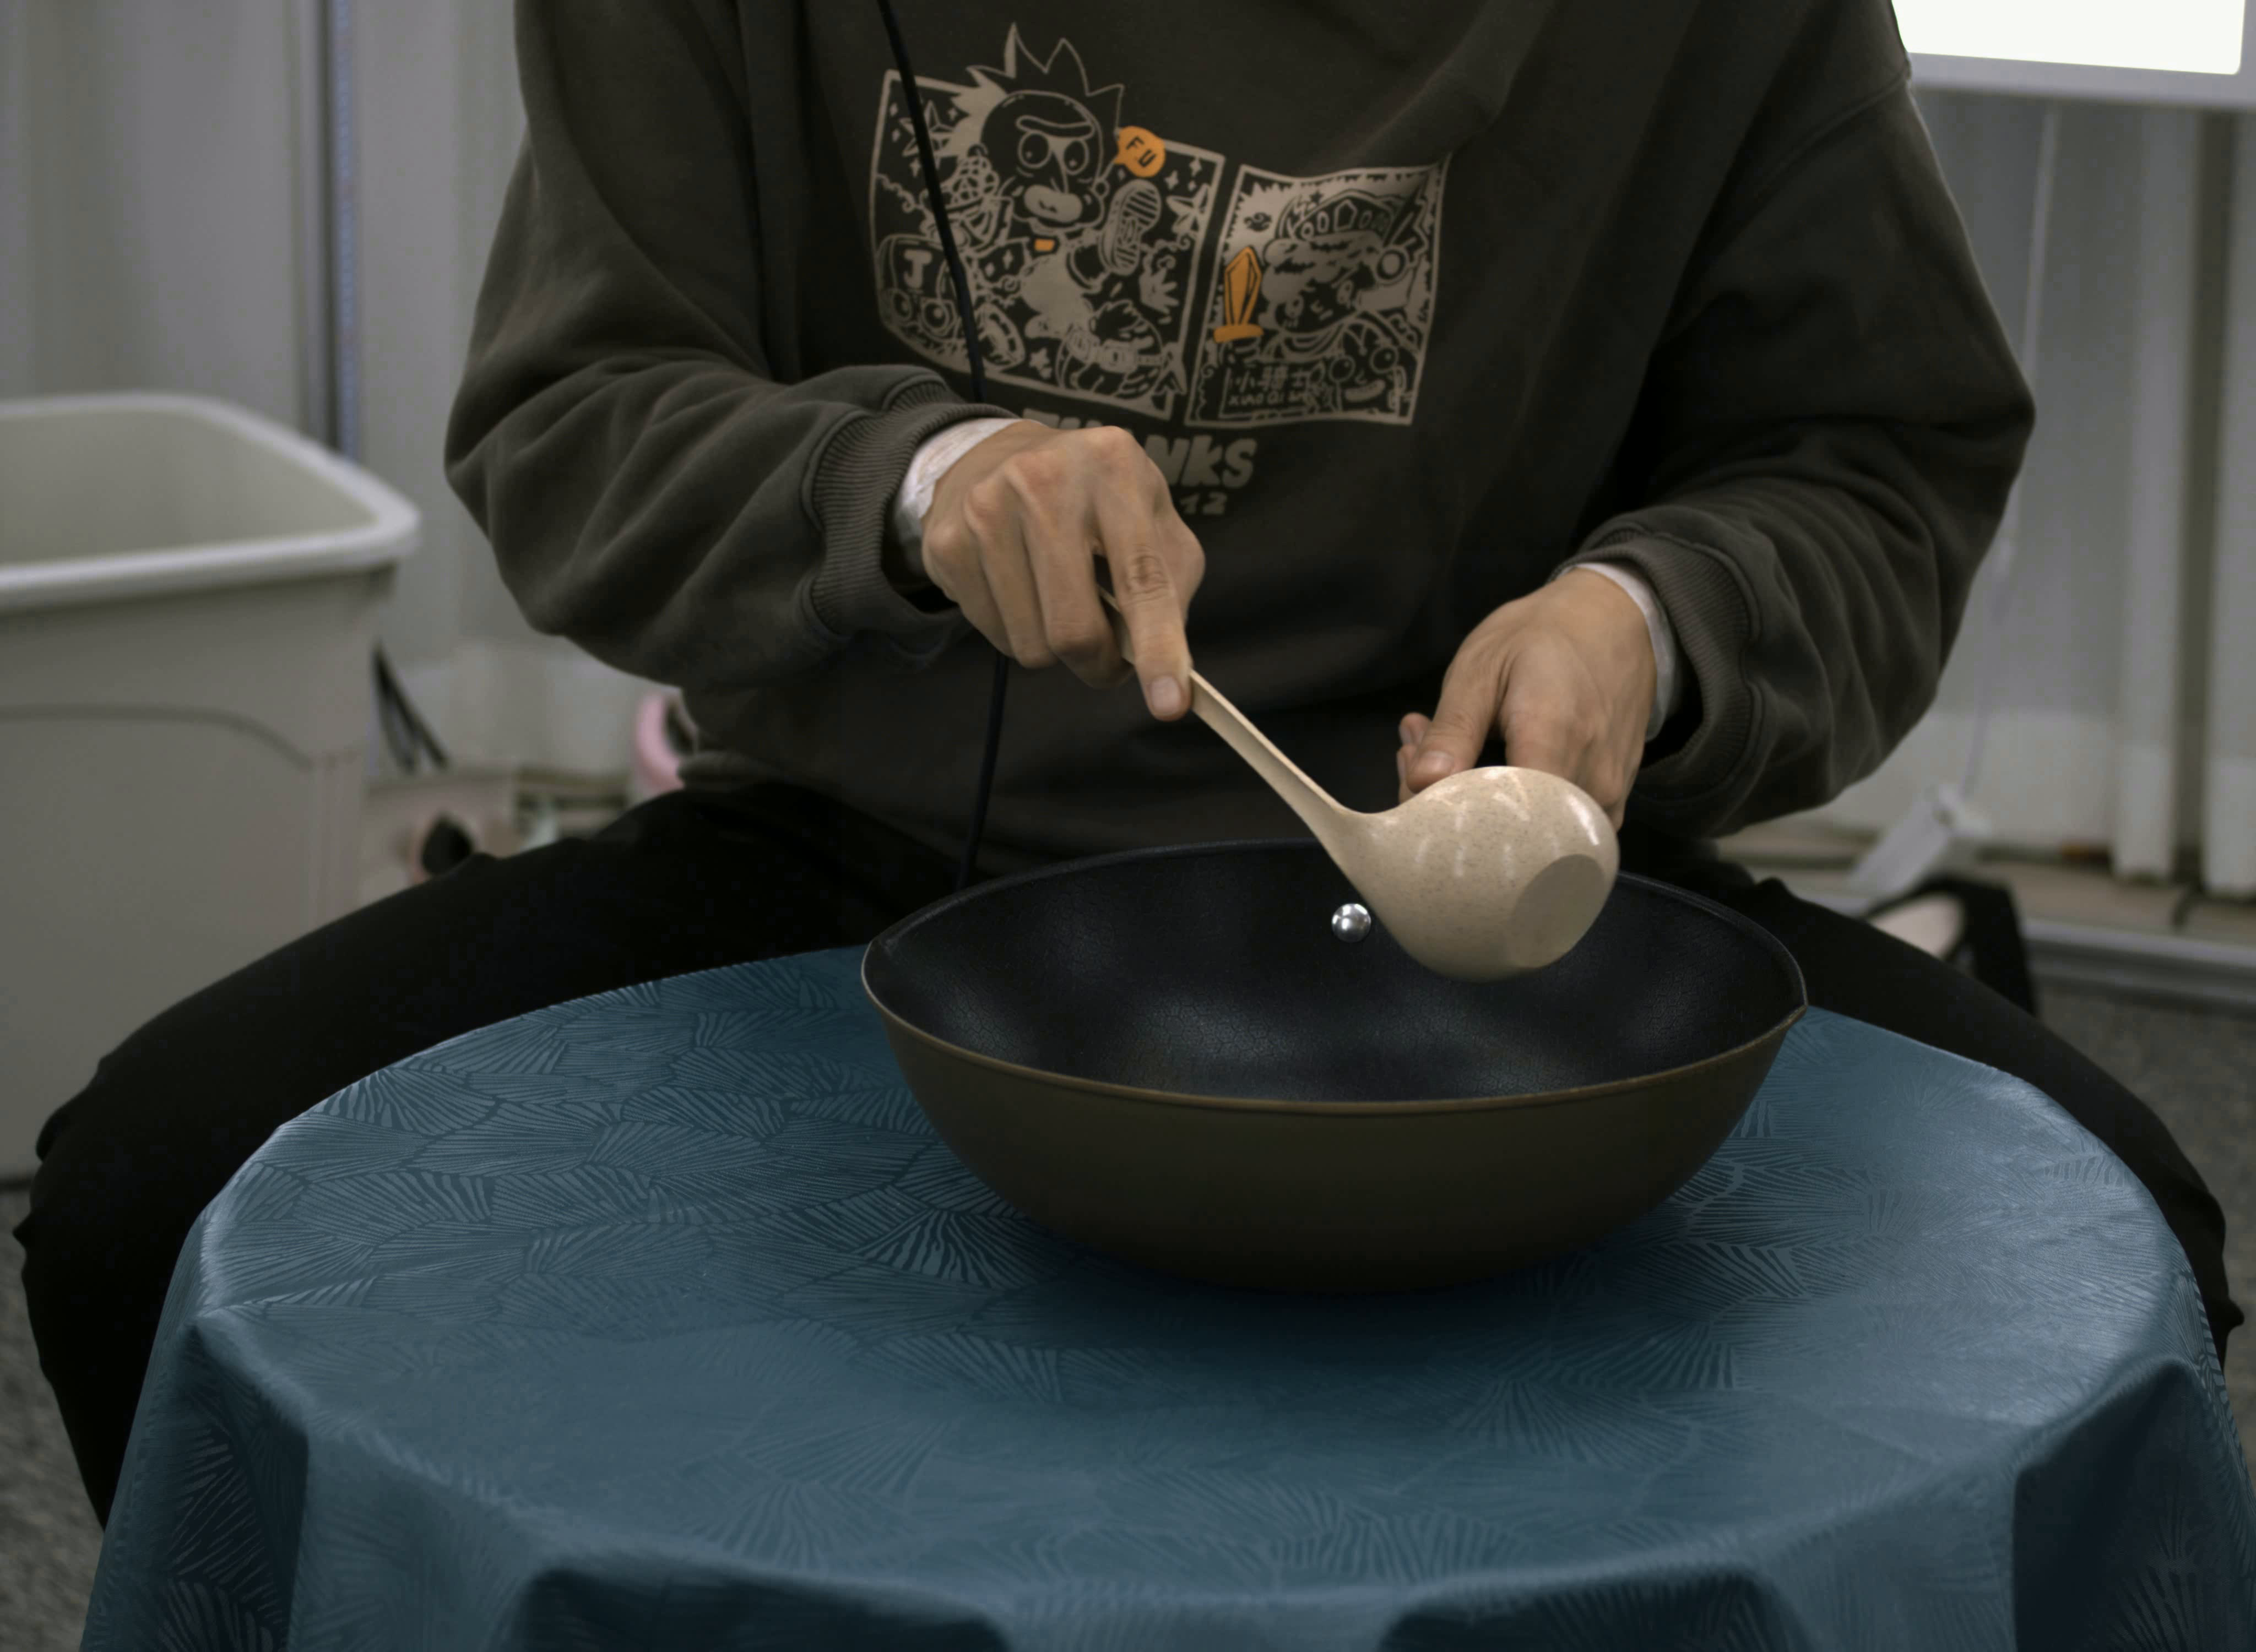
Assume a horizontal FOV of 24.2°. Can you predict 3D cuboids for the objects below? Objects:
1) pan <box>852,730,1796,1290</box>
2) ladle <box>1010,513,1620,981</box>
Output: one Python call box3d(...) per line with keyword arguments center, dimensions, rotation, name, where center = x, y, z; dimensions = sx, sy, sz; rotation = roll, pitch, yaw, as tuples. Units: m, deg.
box3d(center=(0.081, 0.056, 1.683), dimensions=(0.286, 0.087, 0.463), rotation=(4, 15, 13), name="pan")
box3d(center=(0.059, -0.041, 1.662), dimensions=(0.073, 0.073, 0.251), rotation=(-23, 46, -24), name="ladle")
